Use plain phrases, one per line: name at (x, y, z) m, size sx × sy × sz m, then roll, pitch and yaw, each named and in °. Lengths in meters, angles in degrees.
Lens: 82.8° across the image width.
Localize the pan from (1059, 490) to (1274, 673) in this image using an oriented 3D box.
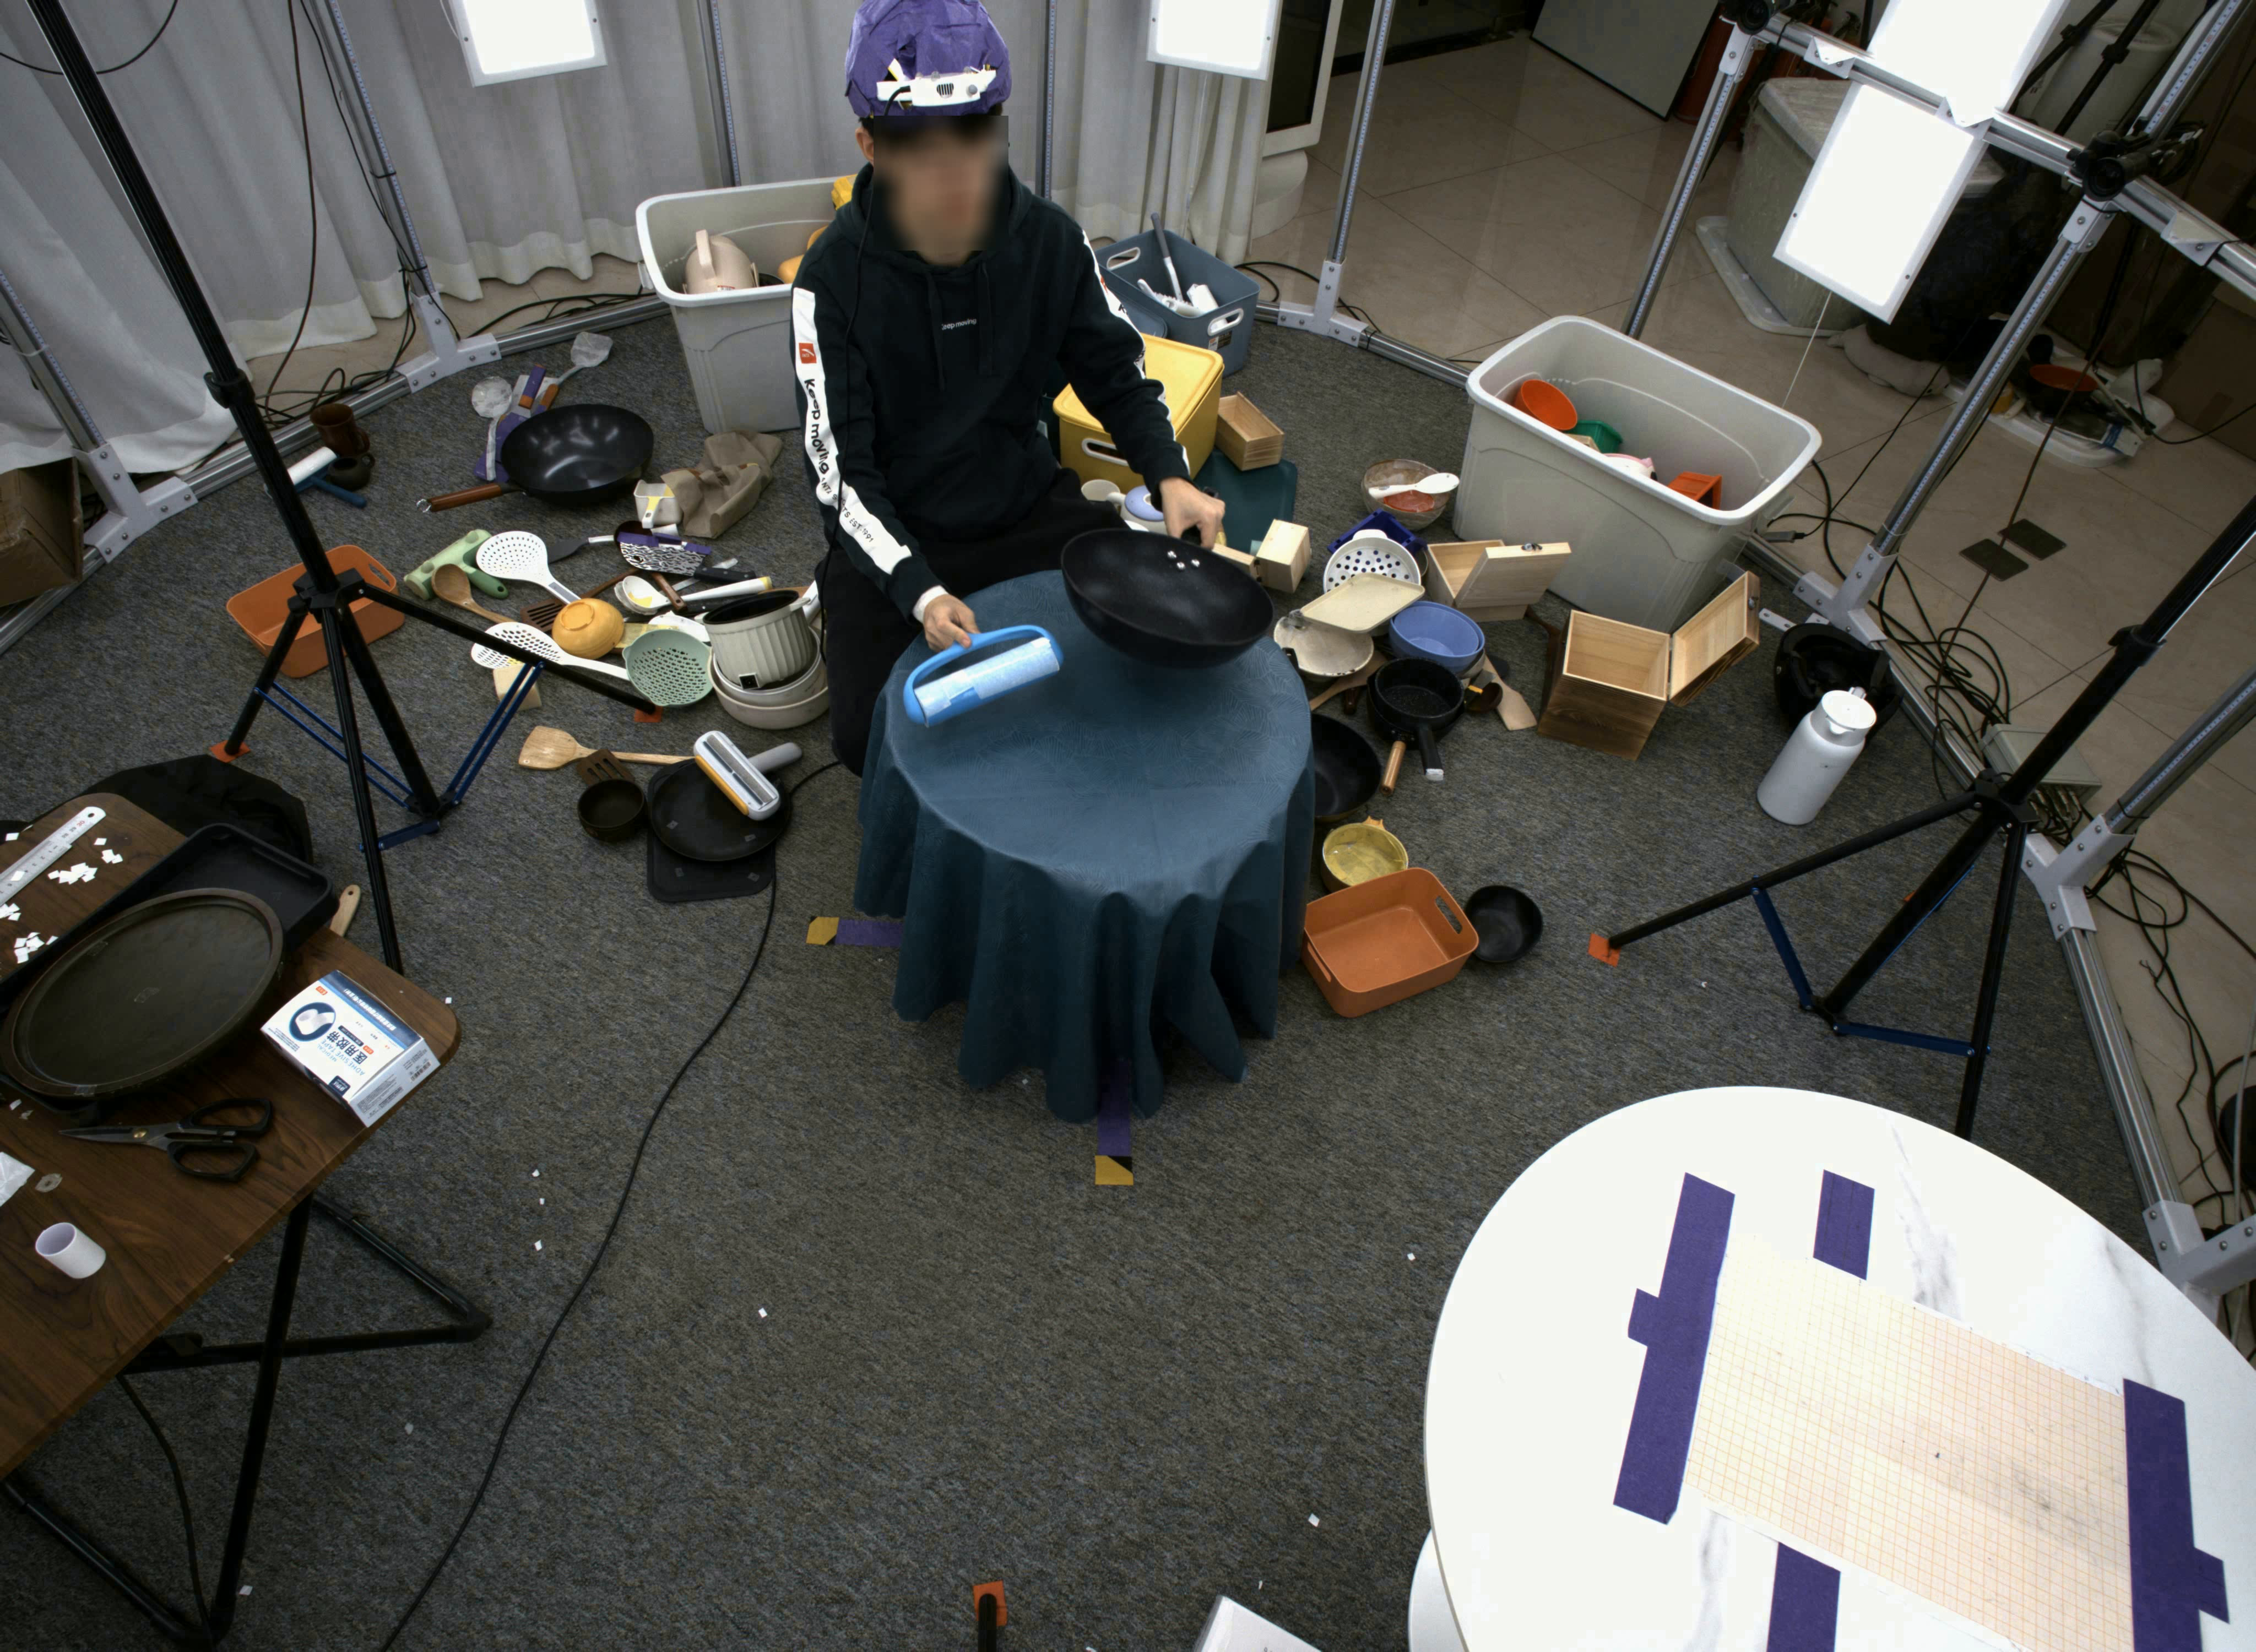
pan at (0.065, -0.355, 1.853) m, size 0.310 × 0.109 × 0.486 m, roll 21°, pitch 35°, yaw 1°

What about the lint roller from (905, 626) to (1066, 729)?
lint roller at (-0.218, -0.229, 1.759) m, size 0.229 × 0.066 × 0.184 m, roll -28°, pitch 49°, yaw -15°
